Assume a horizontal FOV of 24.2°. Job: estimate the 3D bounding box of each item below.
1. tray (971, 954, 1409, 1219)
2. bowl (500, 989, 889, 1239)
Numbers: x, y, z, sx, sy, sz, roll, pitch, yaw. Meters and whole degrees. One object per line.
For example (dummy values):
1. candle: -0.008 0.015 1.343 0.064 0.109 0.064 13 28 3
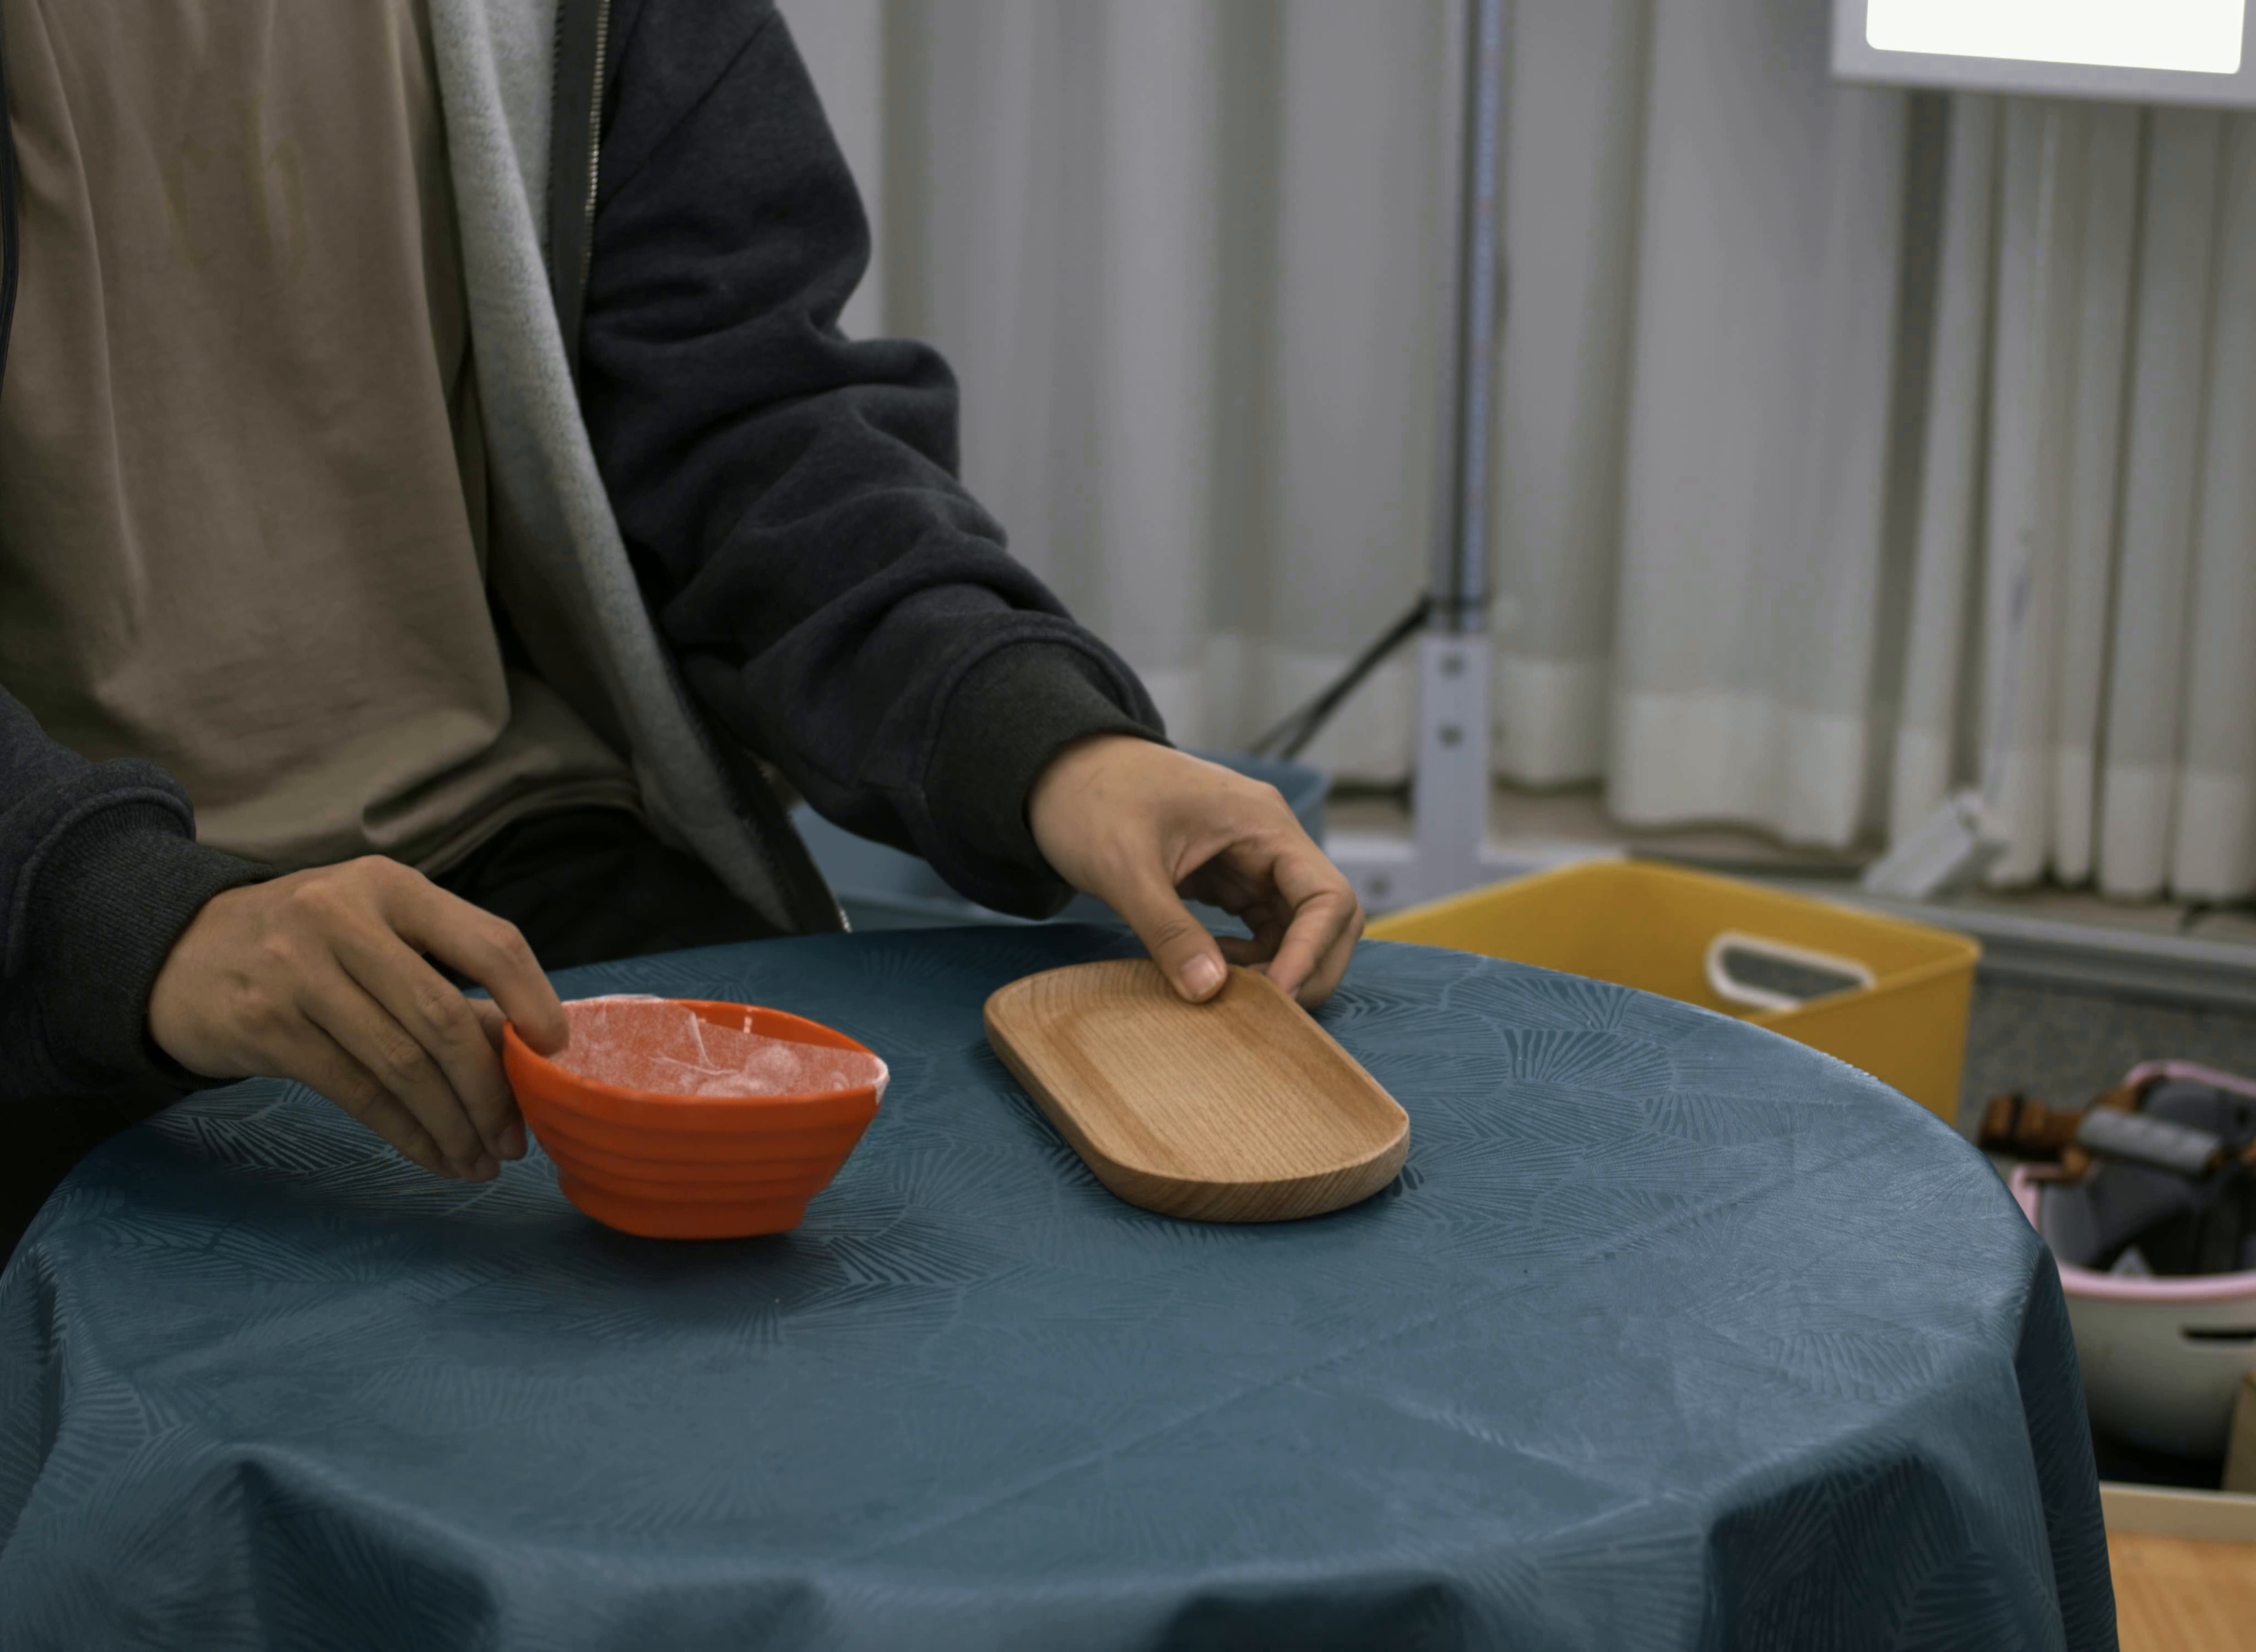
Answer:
1. tray: 0.018 0.082 1.698 0.102 0.020 0.229 -6 16 -16
2. bowl: -0.132 0.088 1.573 0.118 0.052 0.118 7 14 -1
